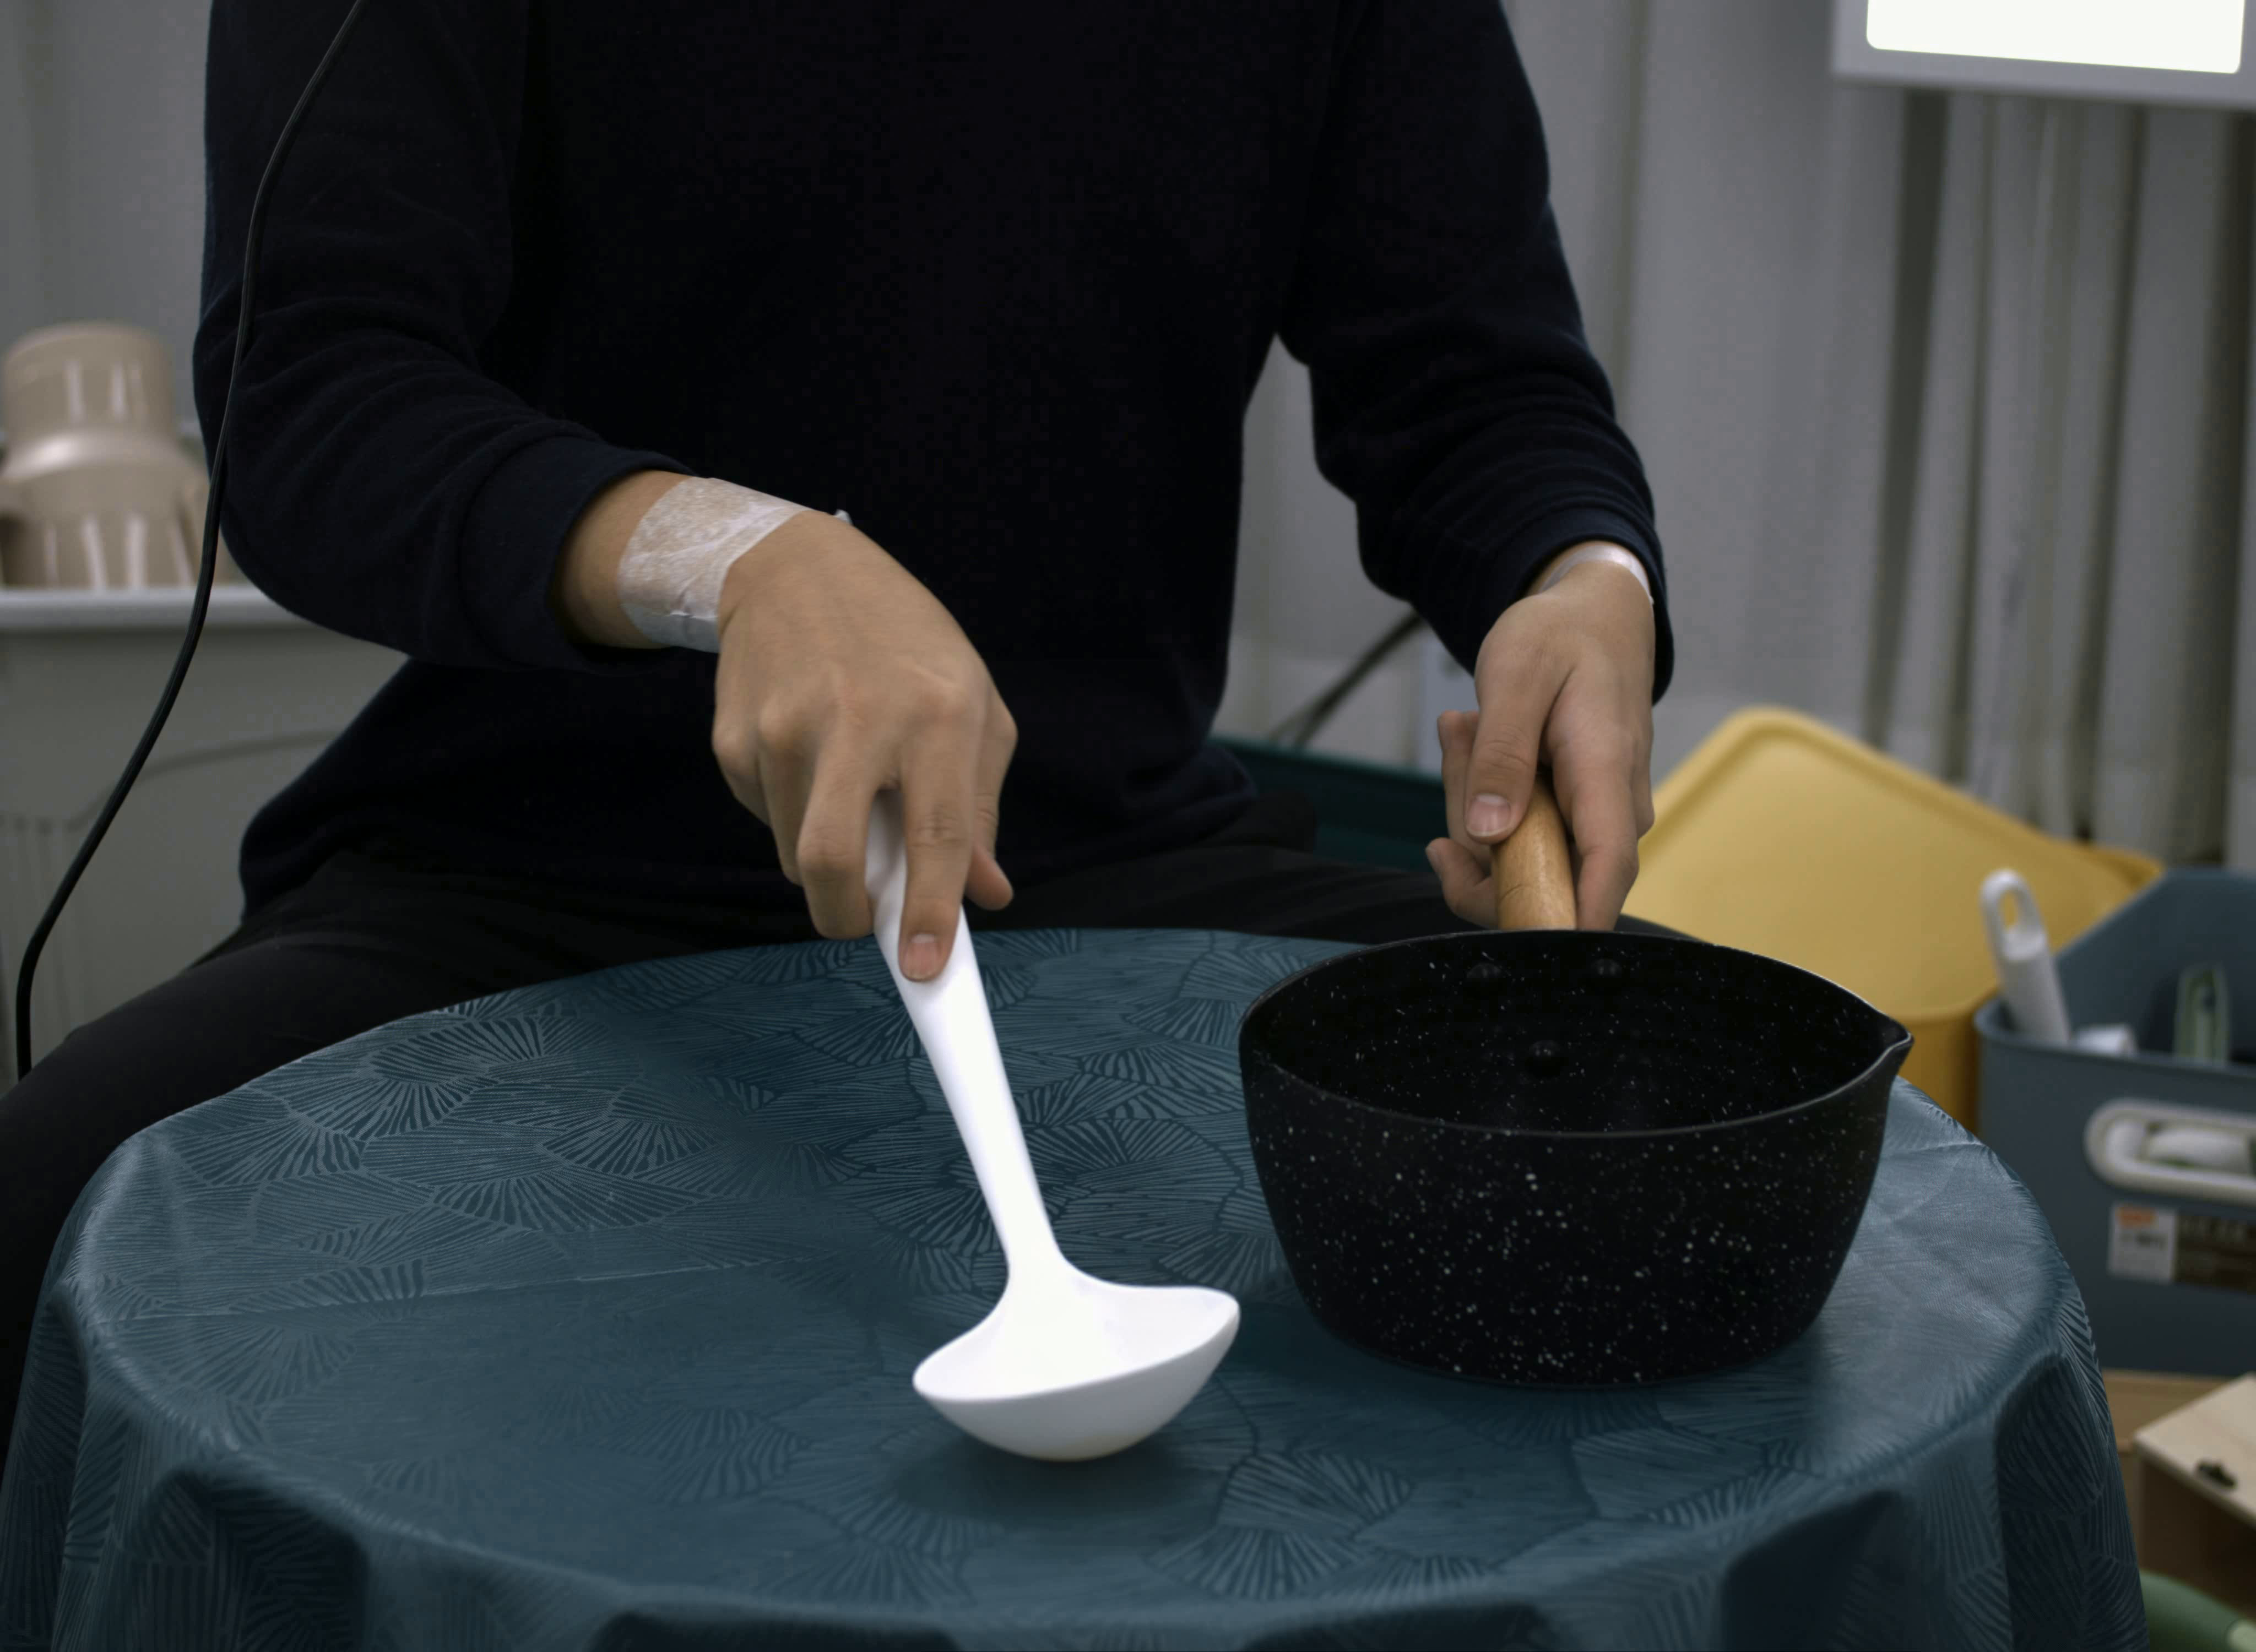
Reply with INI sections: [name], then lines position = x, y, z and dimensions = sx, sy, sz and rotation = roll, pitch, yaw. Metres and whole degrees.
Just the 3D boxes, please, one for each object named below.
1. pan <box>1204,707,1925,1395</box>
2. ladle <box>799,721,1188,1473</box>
[pan]
position = 0.125, 0.063, 1.595
dimensions = 0.207, 0.109, 0.340
rotation = -1, 18, -1
[ladle]
position = -0.053, 0.067, 1.482
dimensions = 0.090, 0.071, 0.289
rotation = -18, 48, -1
